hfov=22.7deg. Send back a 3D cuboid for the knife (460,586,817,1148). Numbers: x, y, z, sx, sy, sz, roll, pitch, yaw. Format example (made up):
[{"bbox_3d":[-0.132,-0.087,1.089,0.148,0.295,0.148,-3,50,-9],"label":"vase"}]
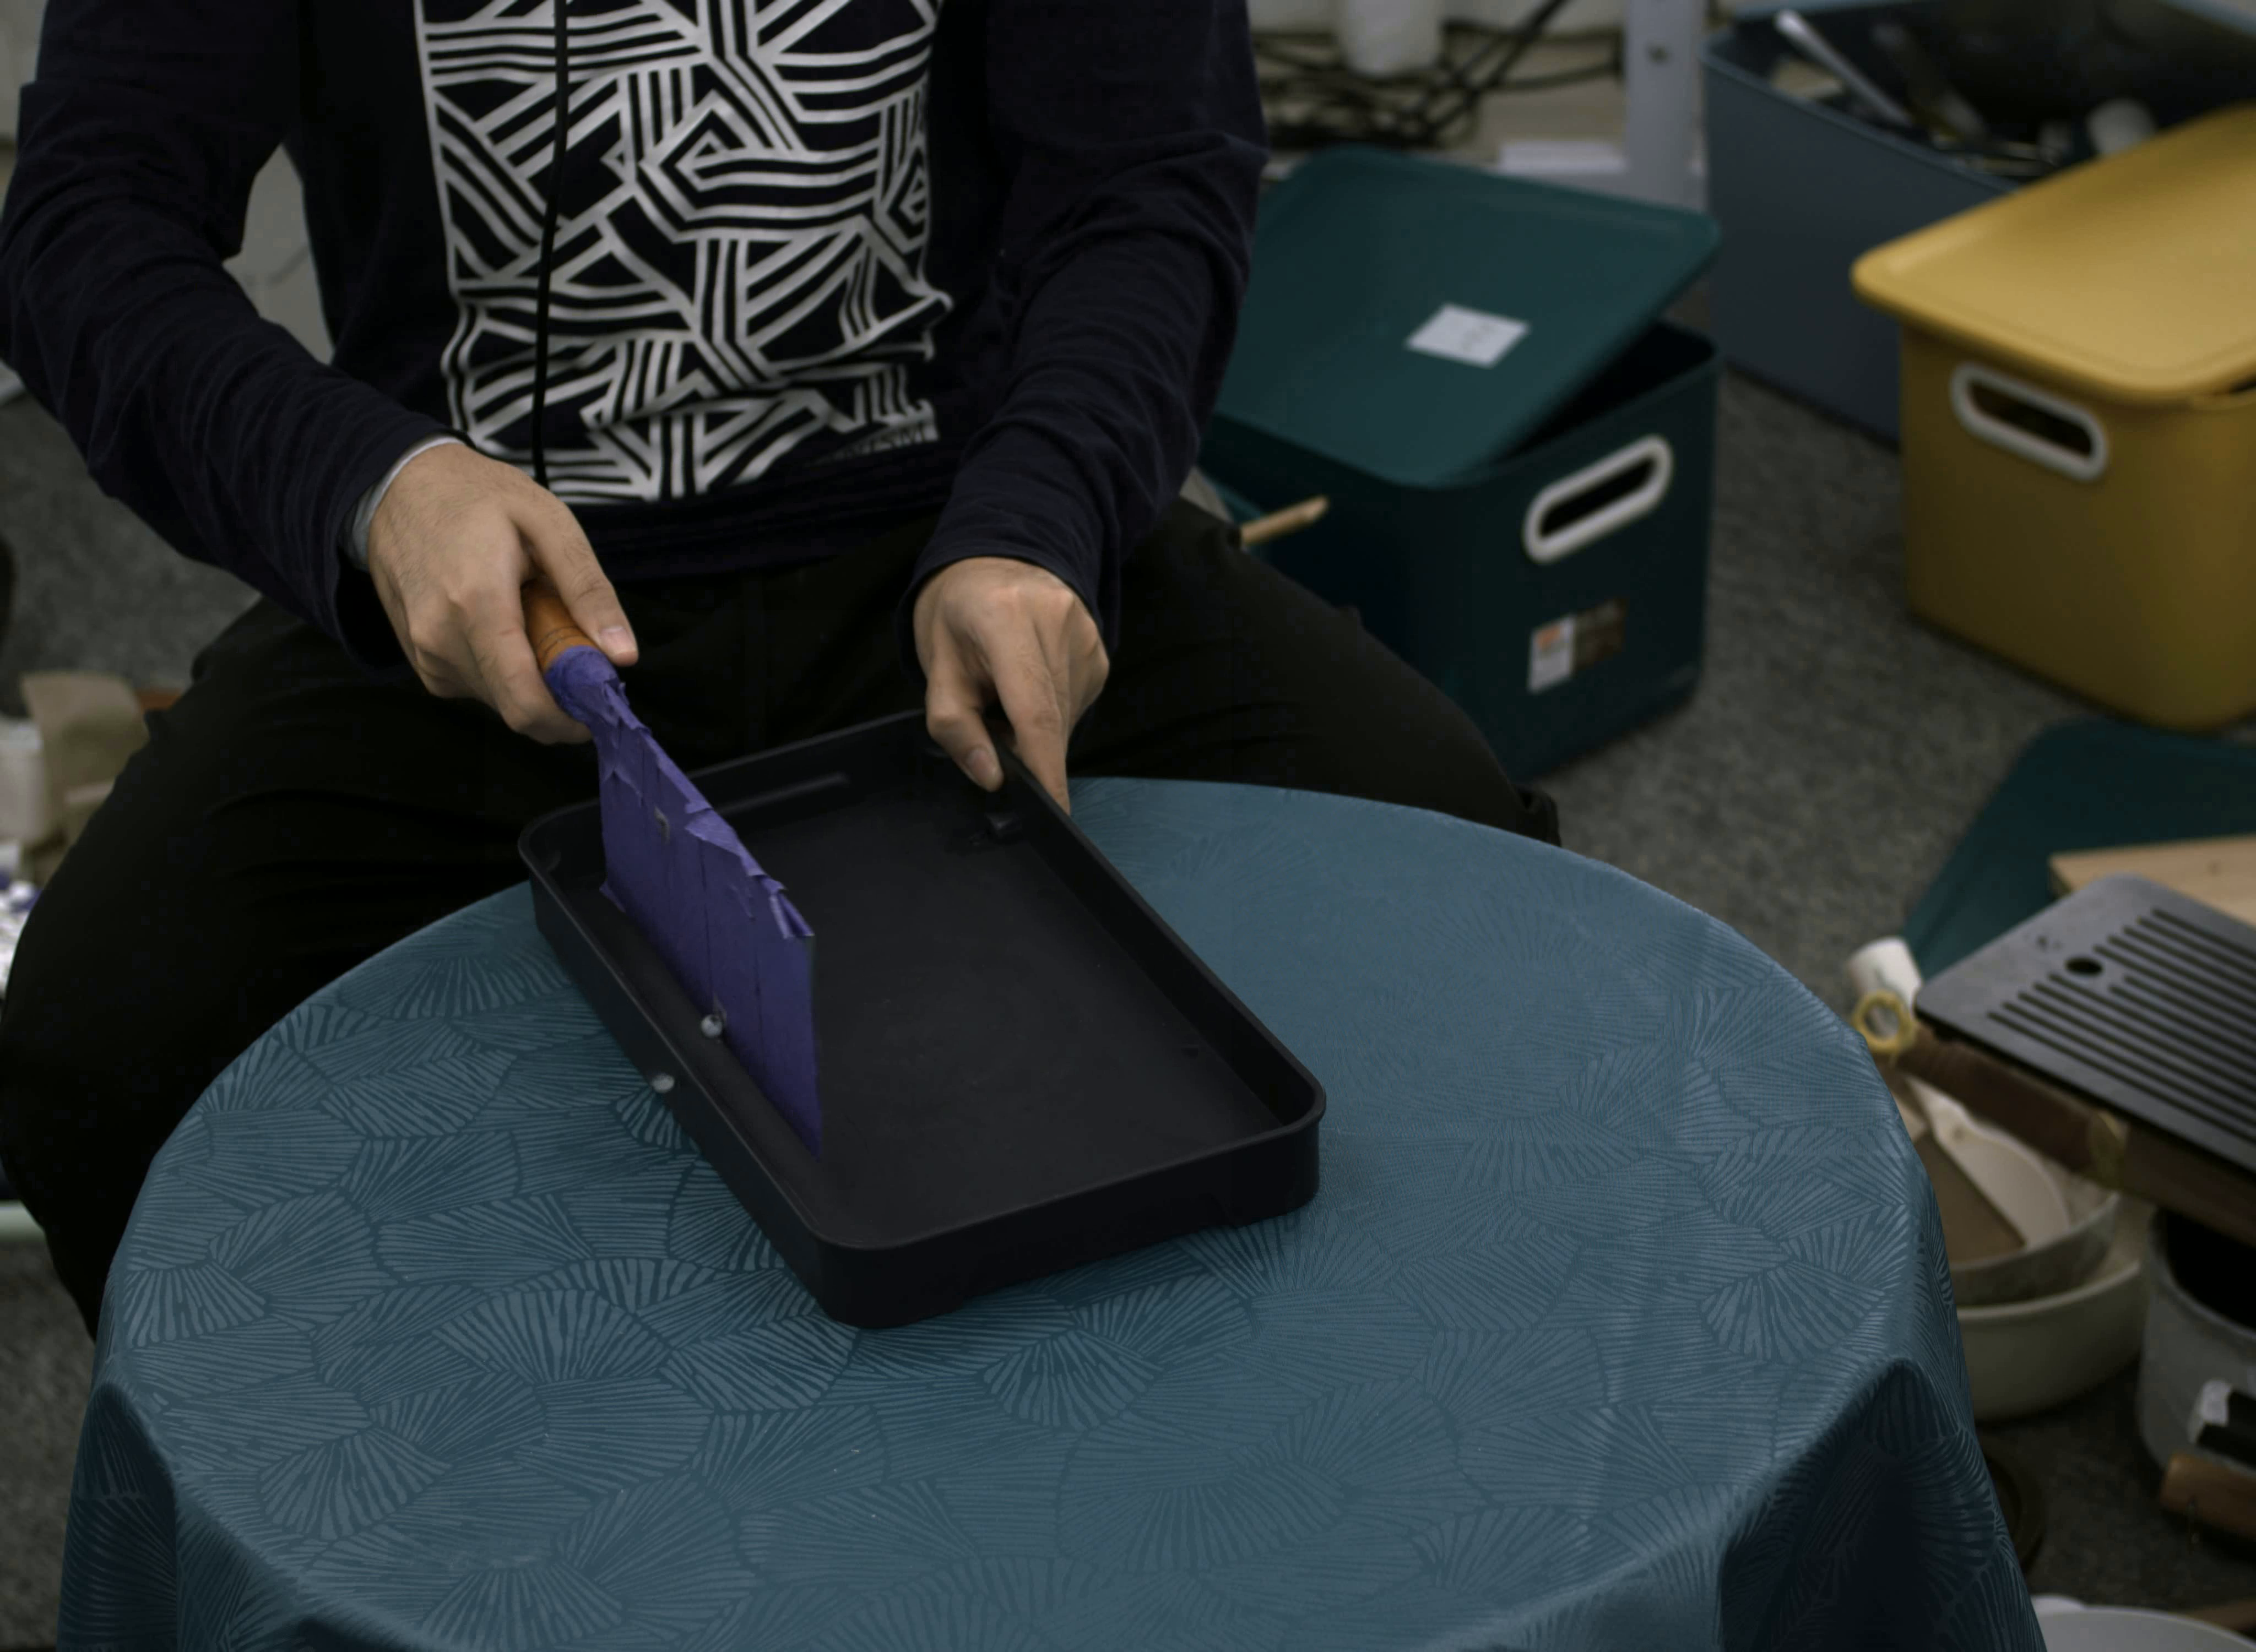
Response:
[{"bbox_3d":[-0.177,0.012,1.942,0.032,0.103,0.317,5,20,-27],"label":"knife"}]

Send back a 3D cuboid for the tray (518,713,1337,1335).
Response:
[{"bbox_3d":[-0.073,0.061,1.930,0.185,0.036,0.320,-18,32,-20],"label":"tray"}]
